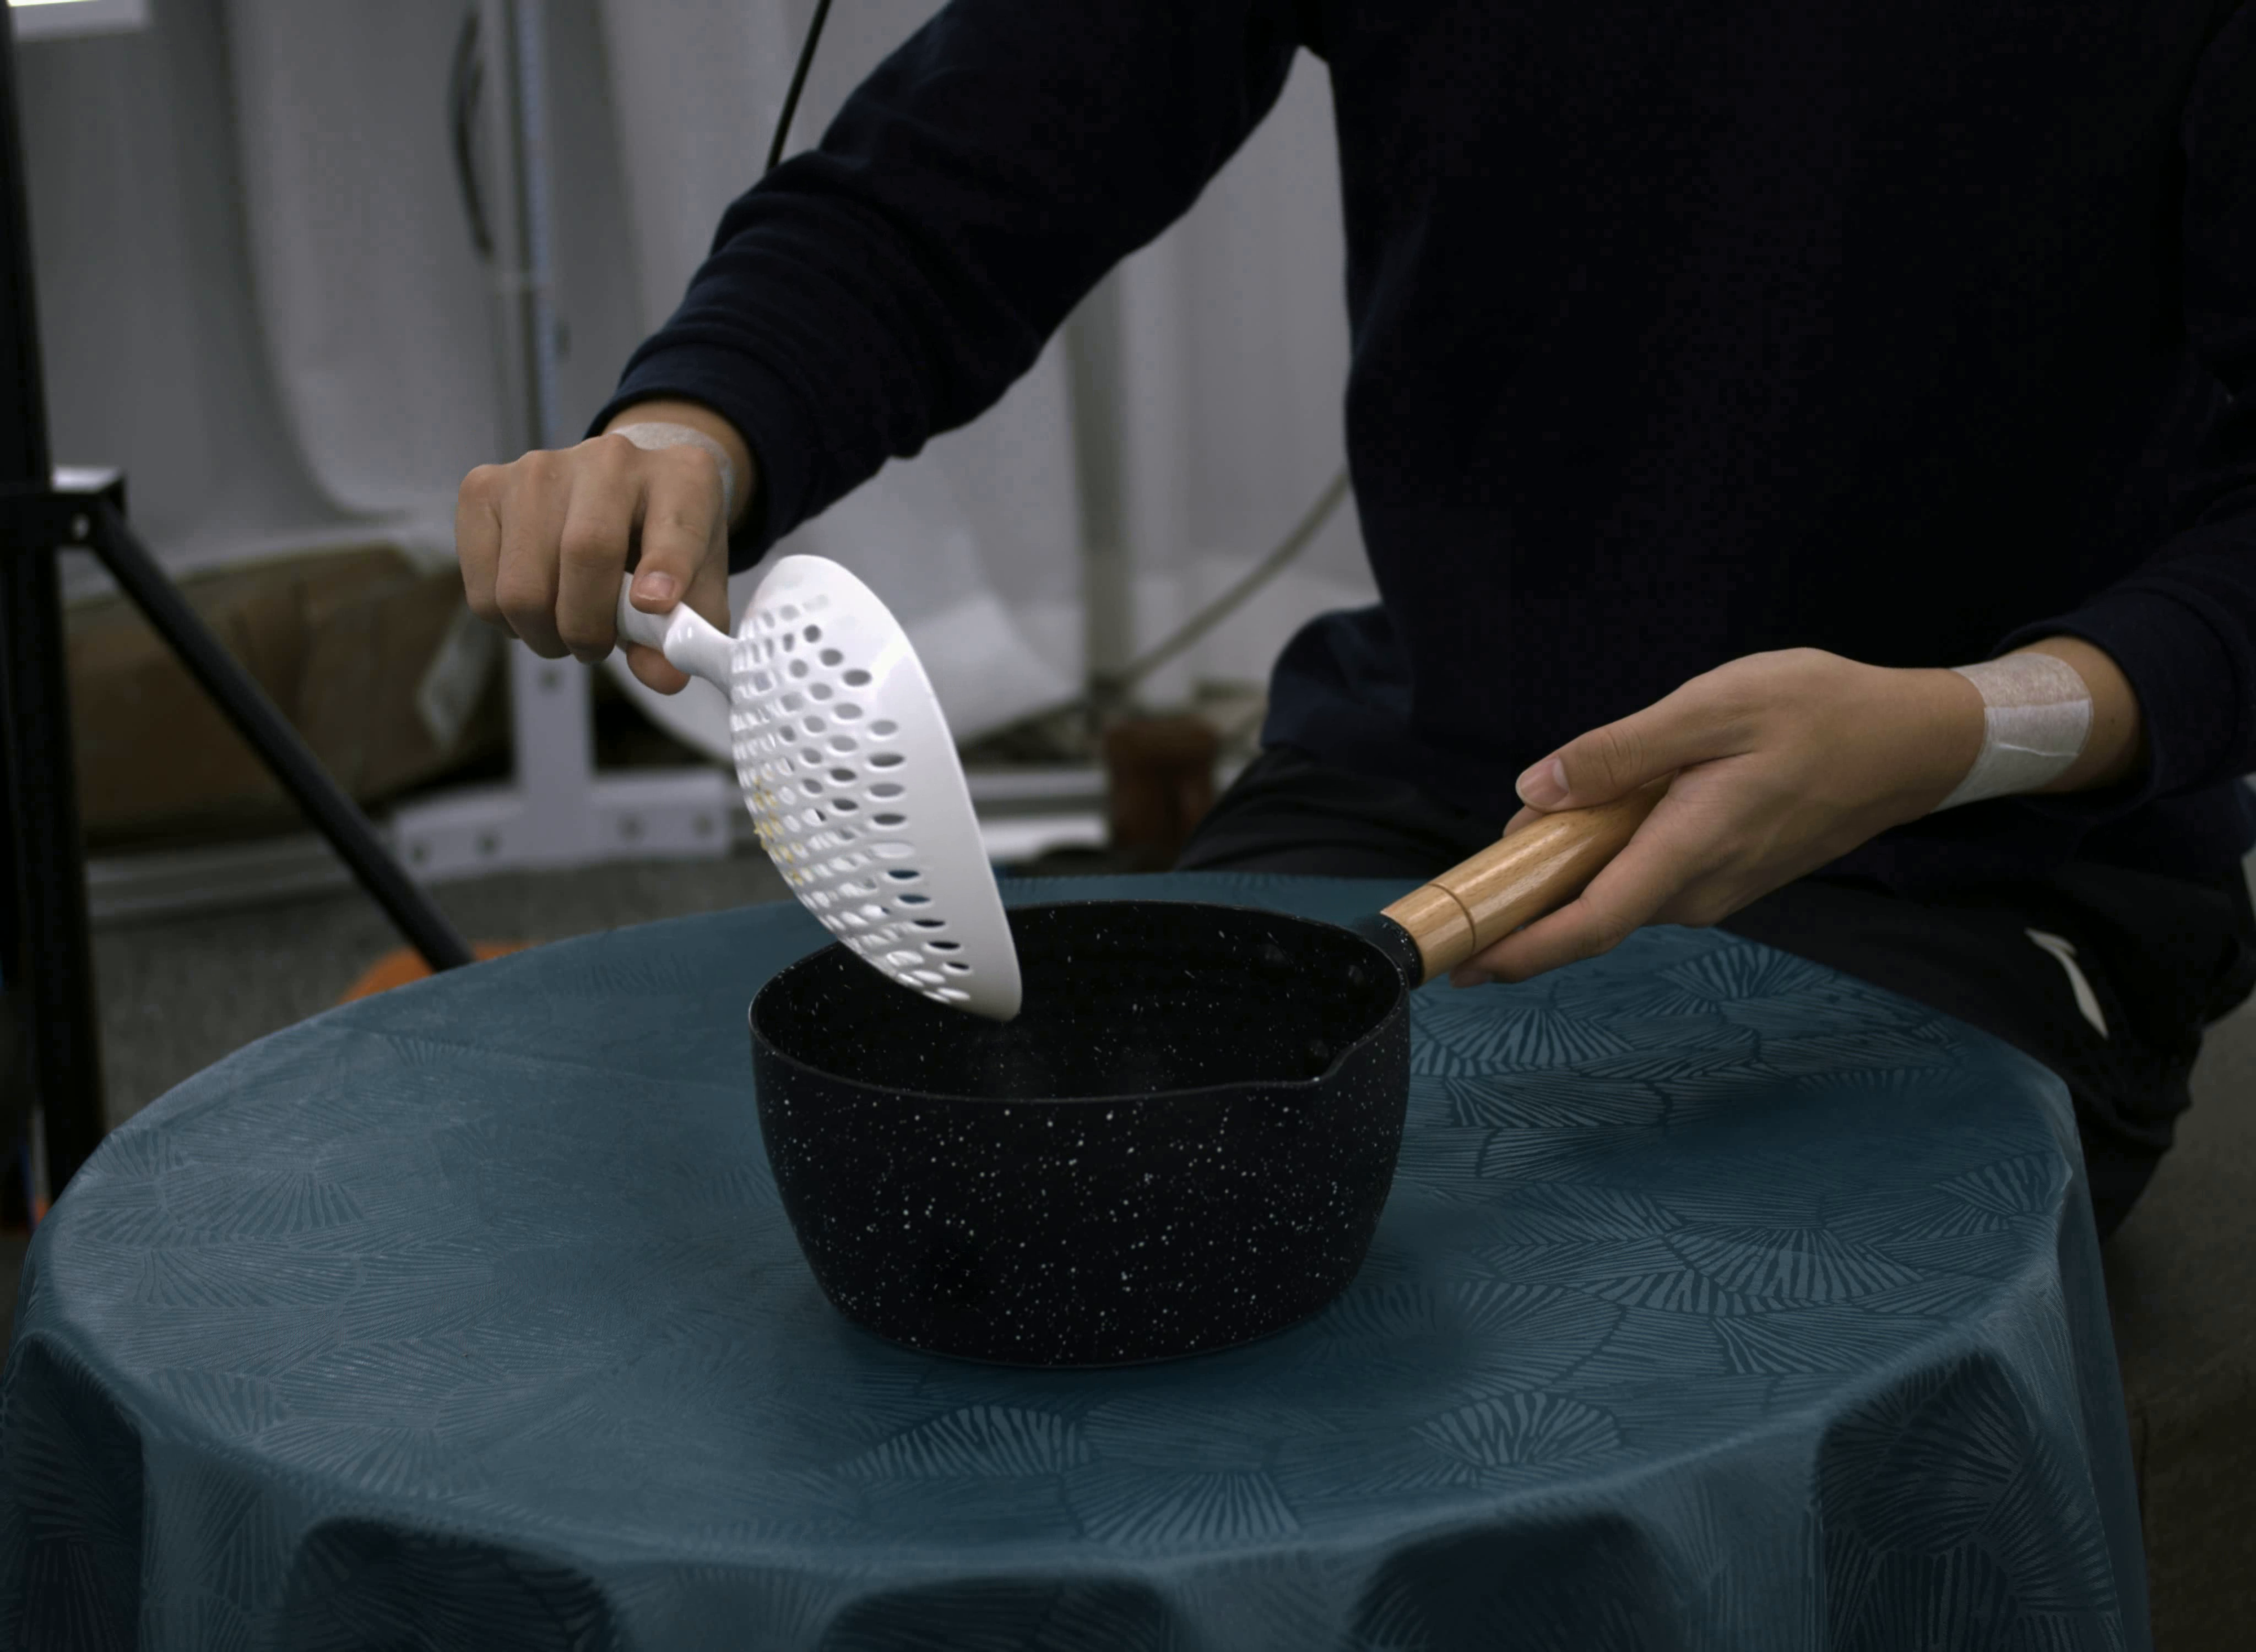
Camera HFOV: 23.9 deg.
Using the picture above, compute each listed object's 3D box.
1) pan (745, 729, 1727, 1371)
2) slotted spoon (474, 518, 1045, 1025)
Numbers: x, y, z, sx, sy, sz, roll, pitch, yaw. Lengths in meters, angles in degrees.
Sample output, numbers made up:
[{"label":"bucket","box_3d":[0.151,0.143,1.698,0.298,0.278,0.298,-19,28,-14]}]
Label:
[{"label":"pan","box_3d":[0.047,0.059,1.525,0.335,0.108,0.212,-17,20,-37]},{"label":"slotted spoon","box_3d":[-0.115,-0.037,1.518,0.050,0.136,0.354,-22,25,-14]}]
